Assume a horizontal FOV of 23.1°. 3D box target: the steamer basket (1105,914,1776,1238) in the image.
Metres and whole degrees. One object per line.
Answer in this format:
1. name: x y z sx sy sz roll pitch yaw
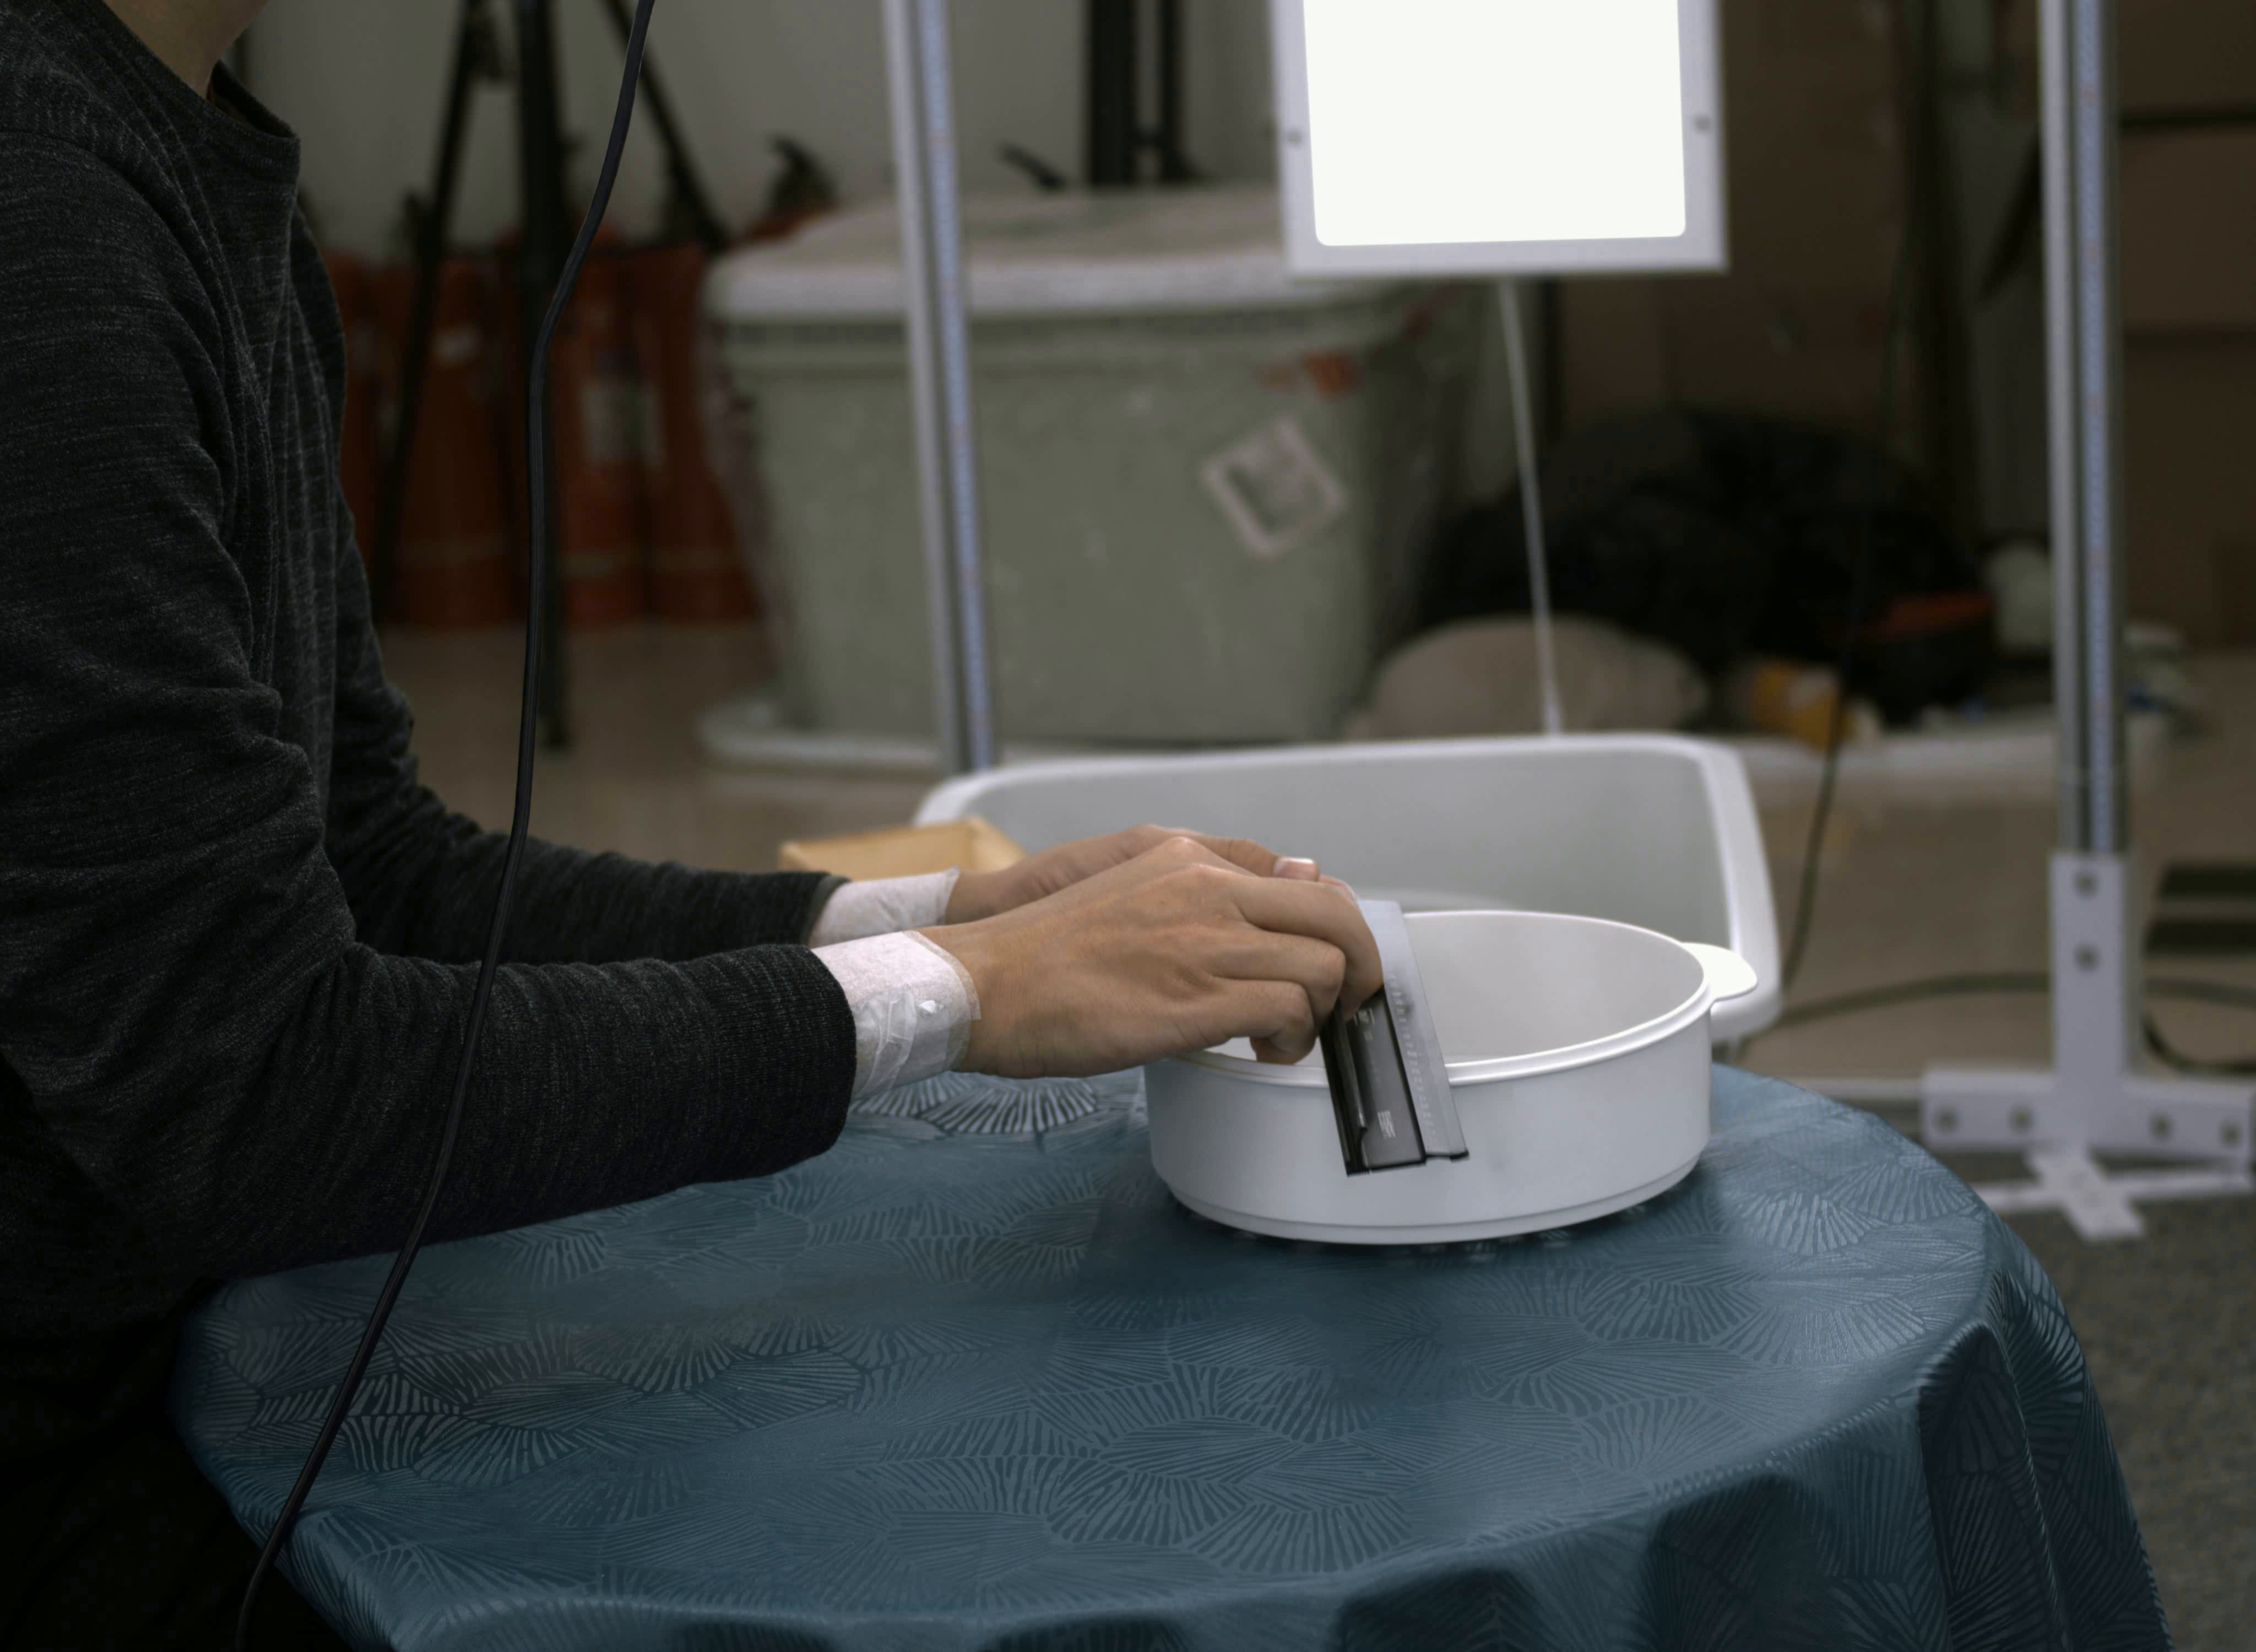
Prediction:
1. steamer basket: 0.108 0.085 1.881 0.229 0.069 0.202 -4 13 -6

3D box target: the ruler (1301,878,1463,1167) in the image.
1. ruler: 0.082 0.059 1.820 0.039 0.017 0.312 -6 13 1
